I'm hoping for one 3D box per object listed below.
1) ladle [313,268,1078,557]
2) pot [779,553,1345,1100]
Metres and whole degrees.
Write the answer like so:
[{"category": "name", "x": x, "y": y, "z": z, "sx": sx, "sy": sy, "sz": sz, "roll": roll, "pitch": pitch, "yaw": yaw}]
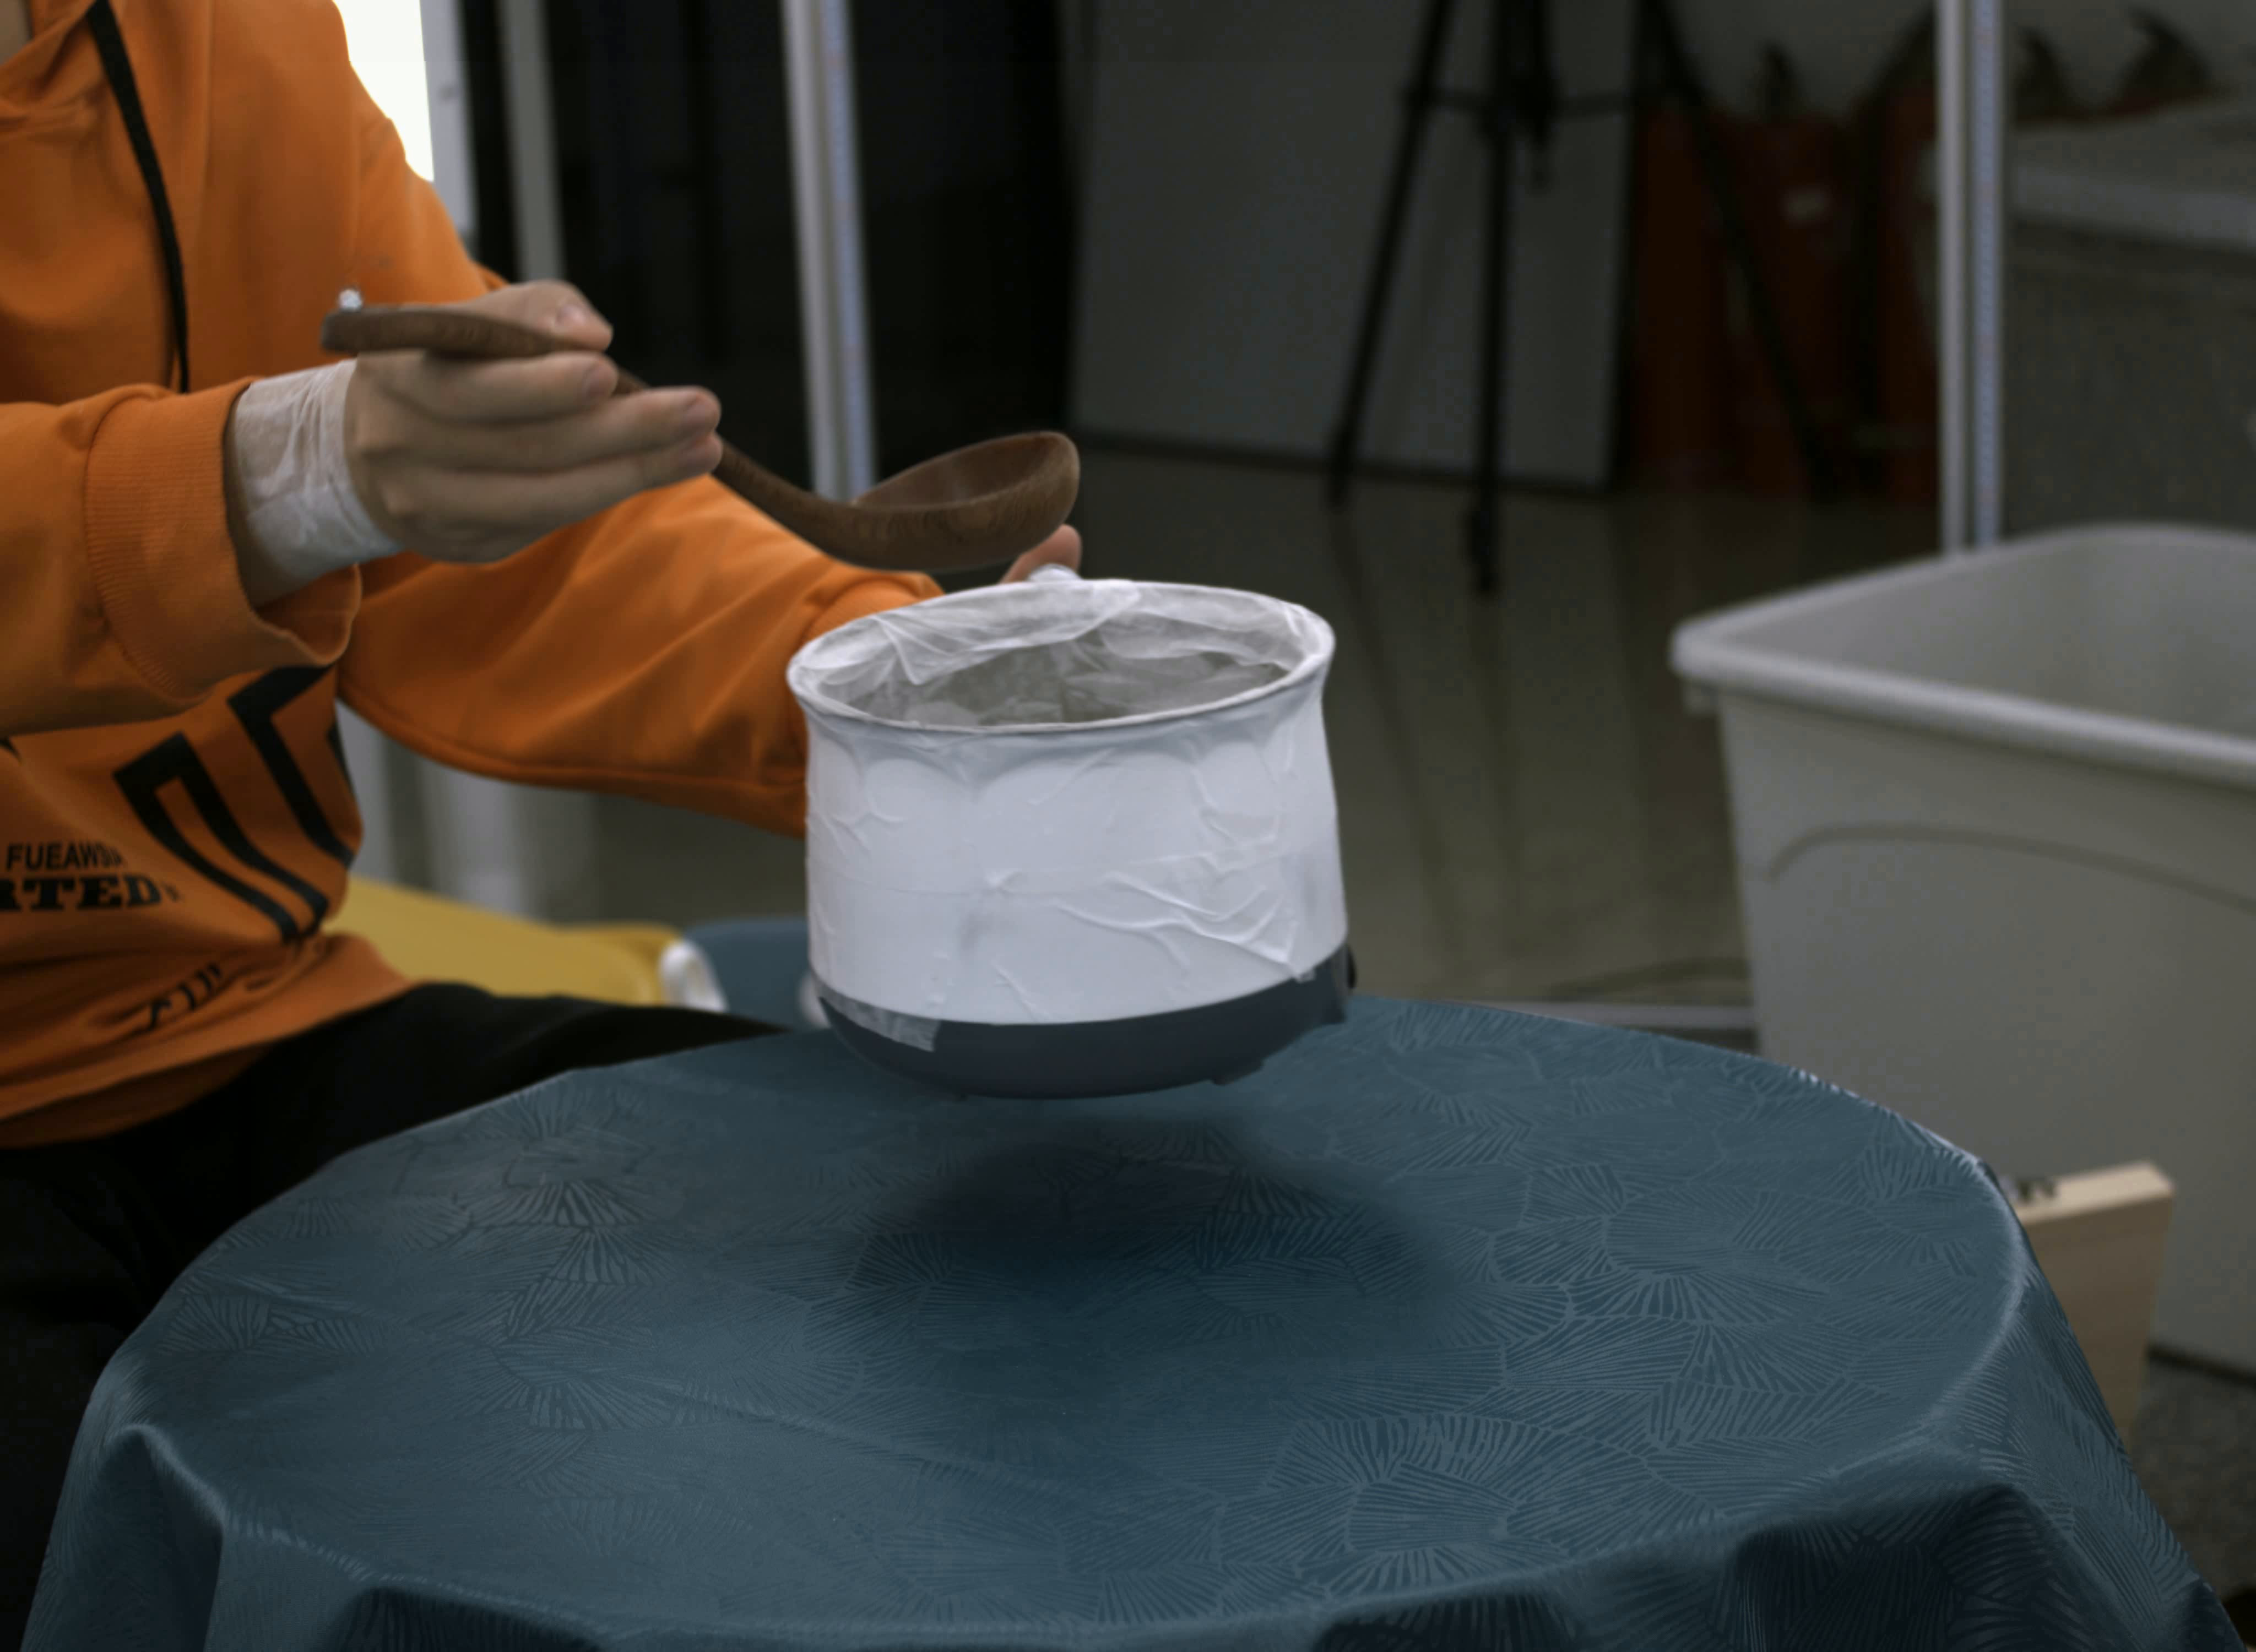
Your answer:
[{"category": "ladle", "x": -0.125, "y": -0.136, "z": 1.614, "sx": 0.255, "sy": 0.066, "sz": 0.077, "roll": 22, "pitch": -15, "yaw": -33}, {"category": "pot", "x": -0.022, "y": -0.005, "z": 1.762, "sx": 0.176, "sy": 0.138, "sz": 0.234, "roll": -4, "pitch": 16, "yaw": -2}]
